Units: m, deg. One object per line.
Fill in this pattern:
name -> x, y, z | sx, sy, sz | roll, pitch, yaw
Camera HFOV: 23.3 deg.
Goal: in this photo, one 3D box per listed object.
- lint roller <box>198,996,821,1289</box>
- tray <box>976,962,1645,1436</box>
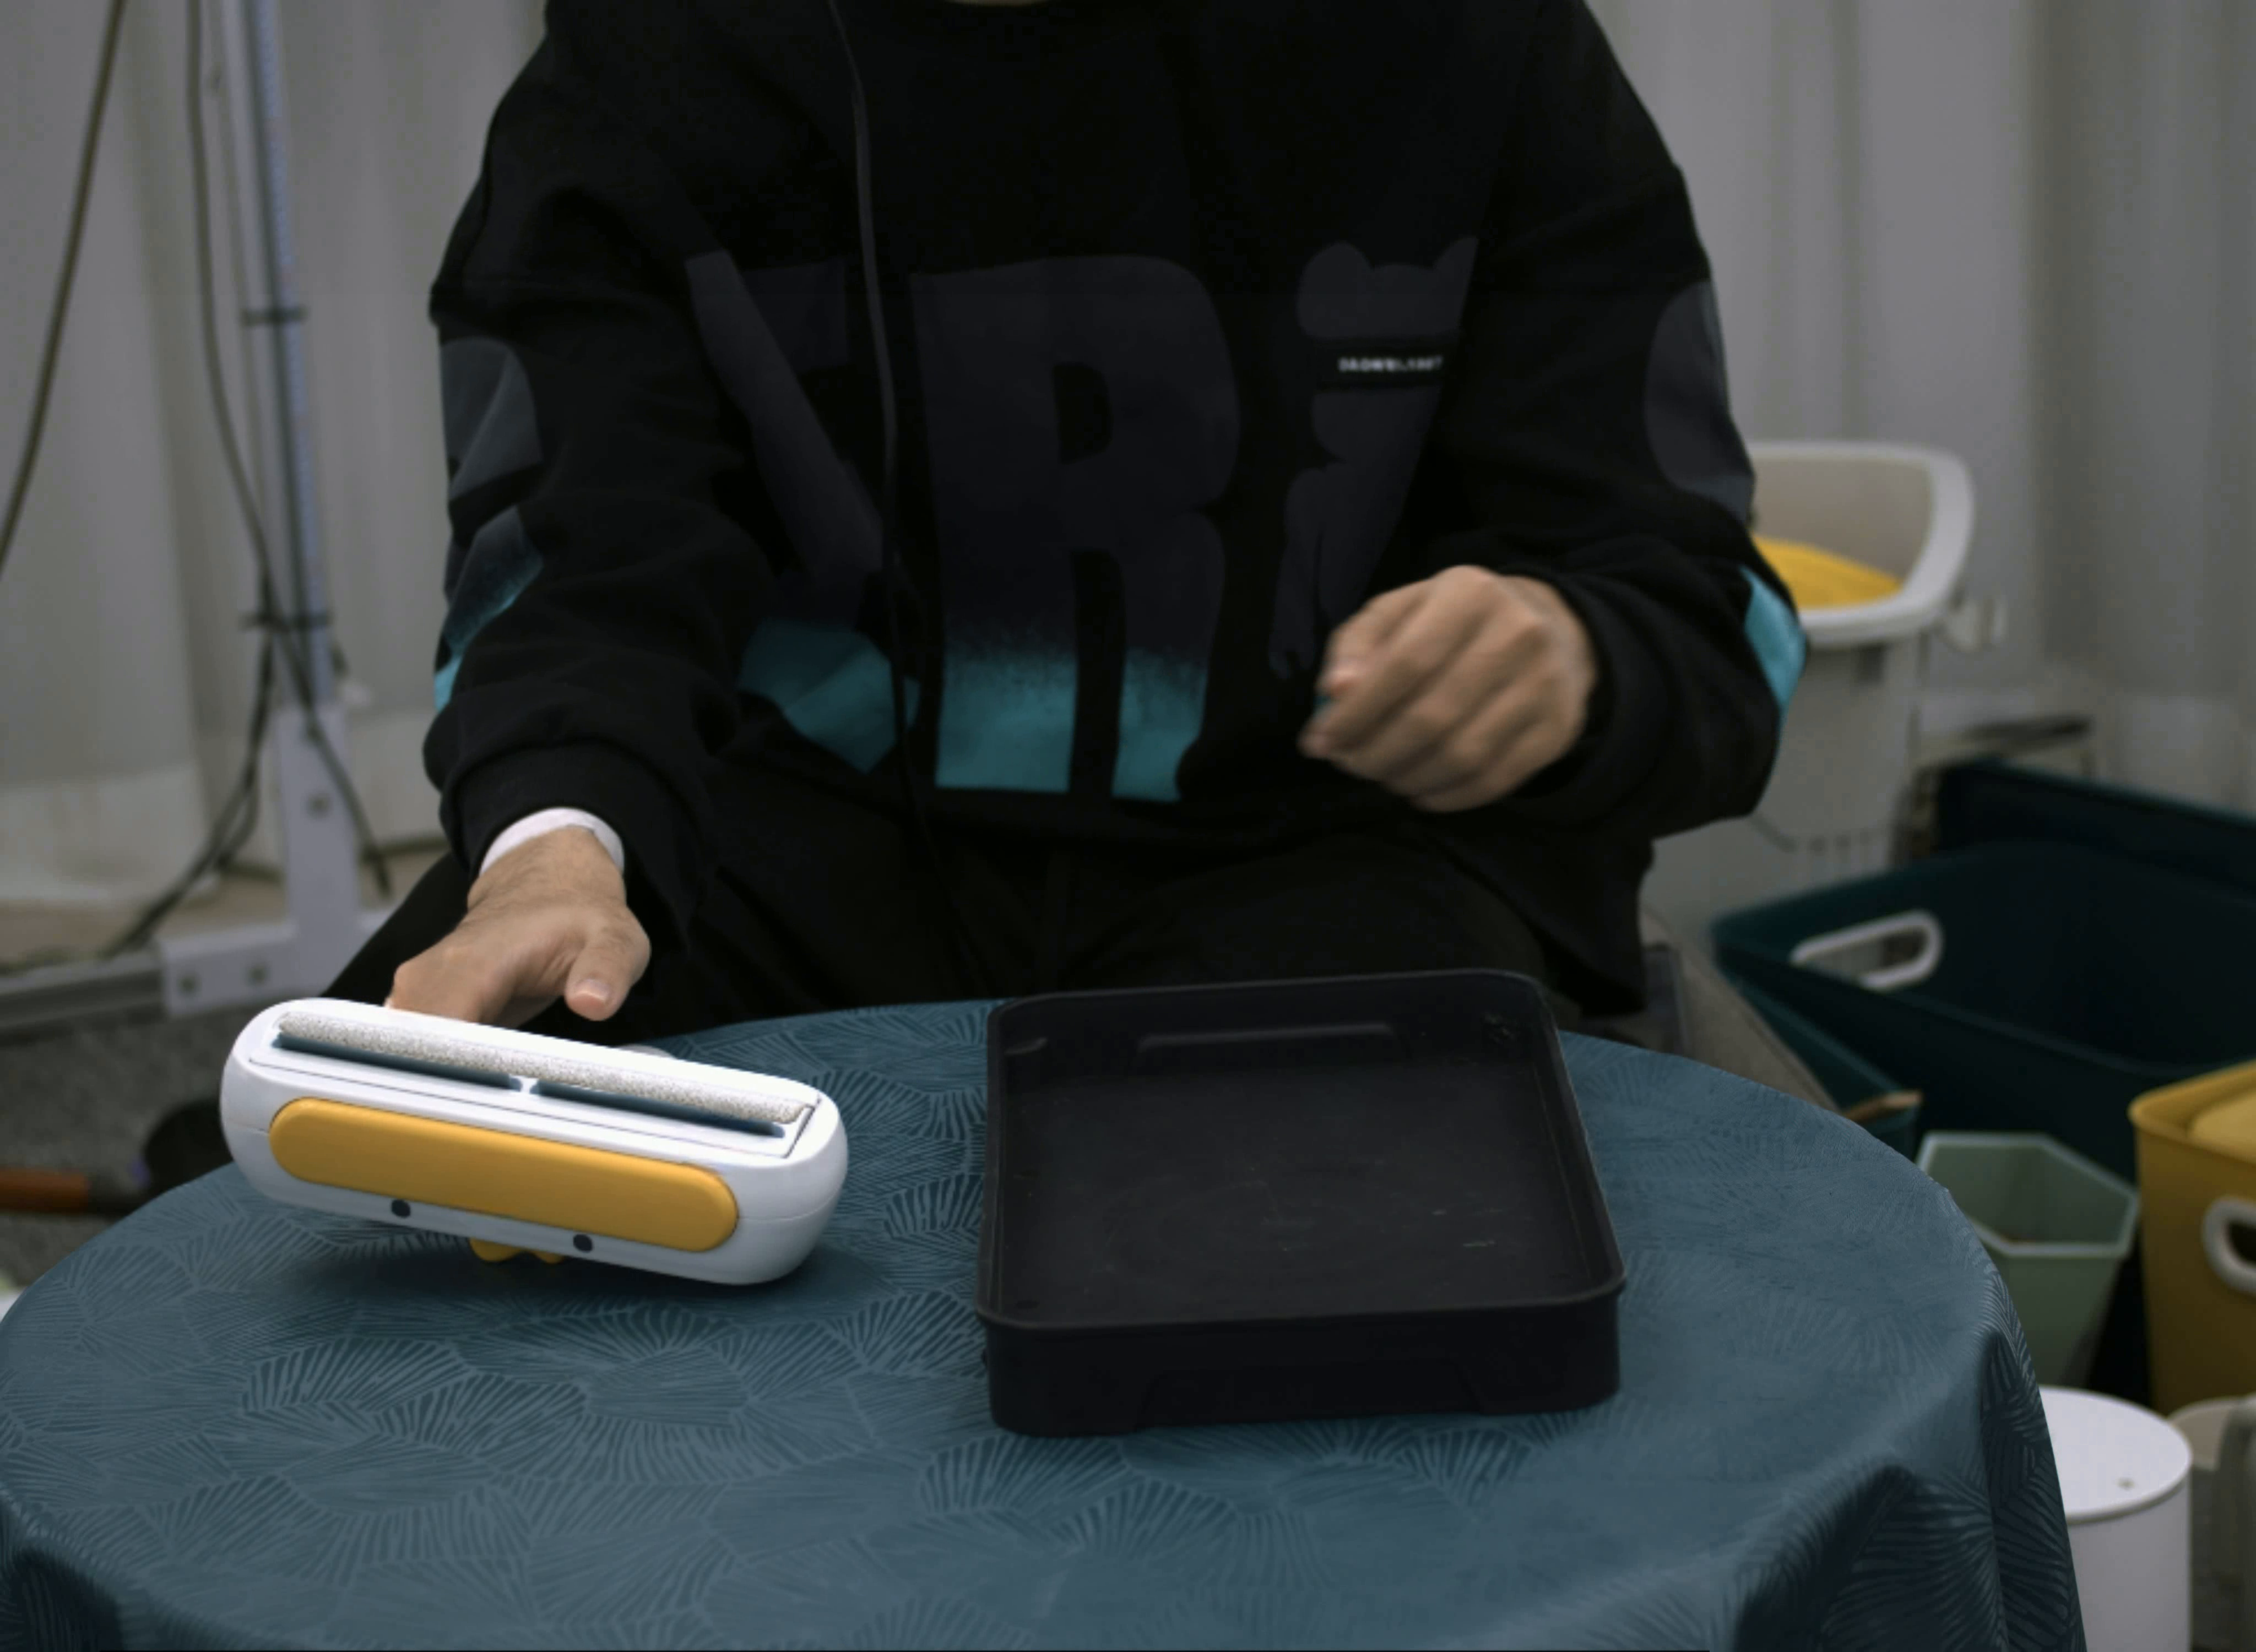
lint roller -> -0.174, 0.088, 1.720 | 0.193, 0.074, 0.193 | 6, 15, 13
tray -> 0.048, 0.108, 1.662 | 0.183, 0.037, 0.320 | -4, 15, -1
